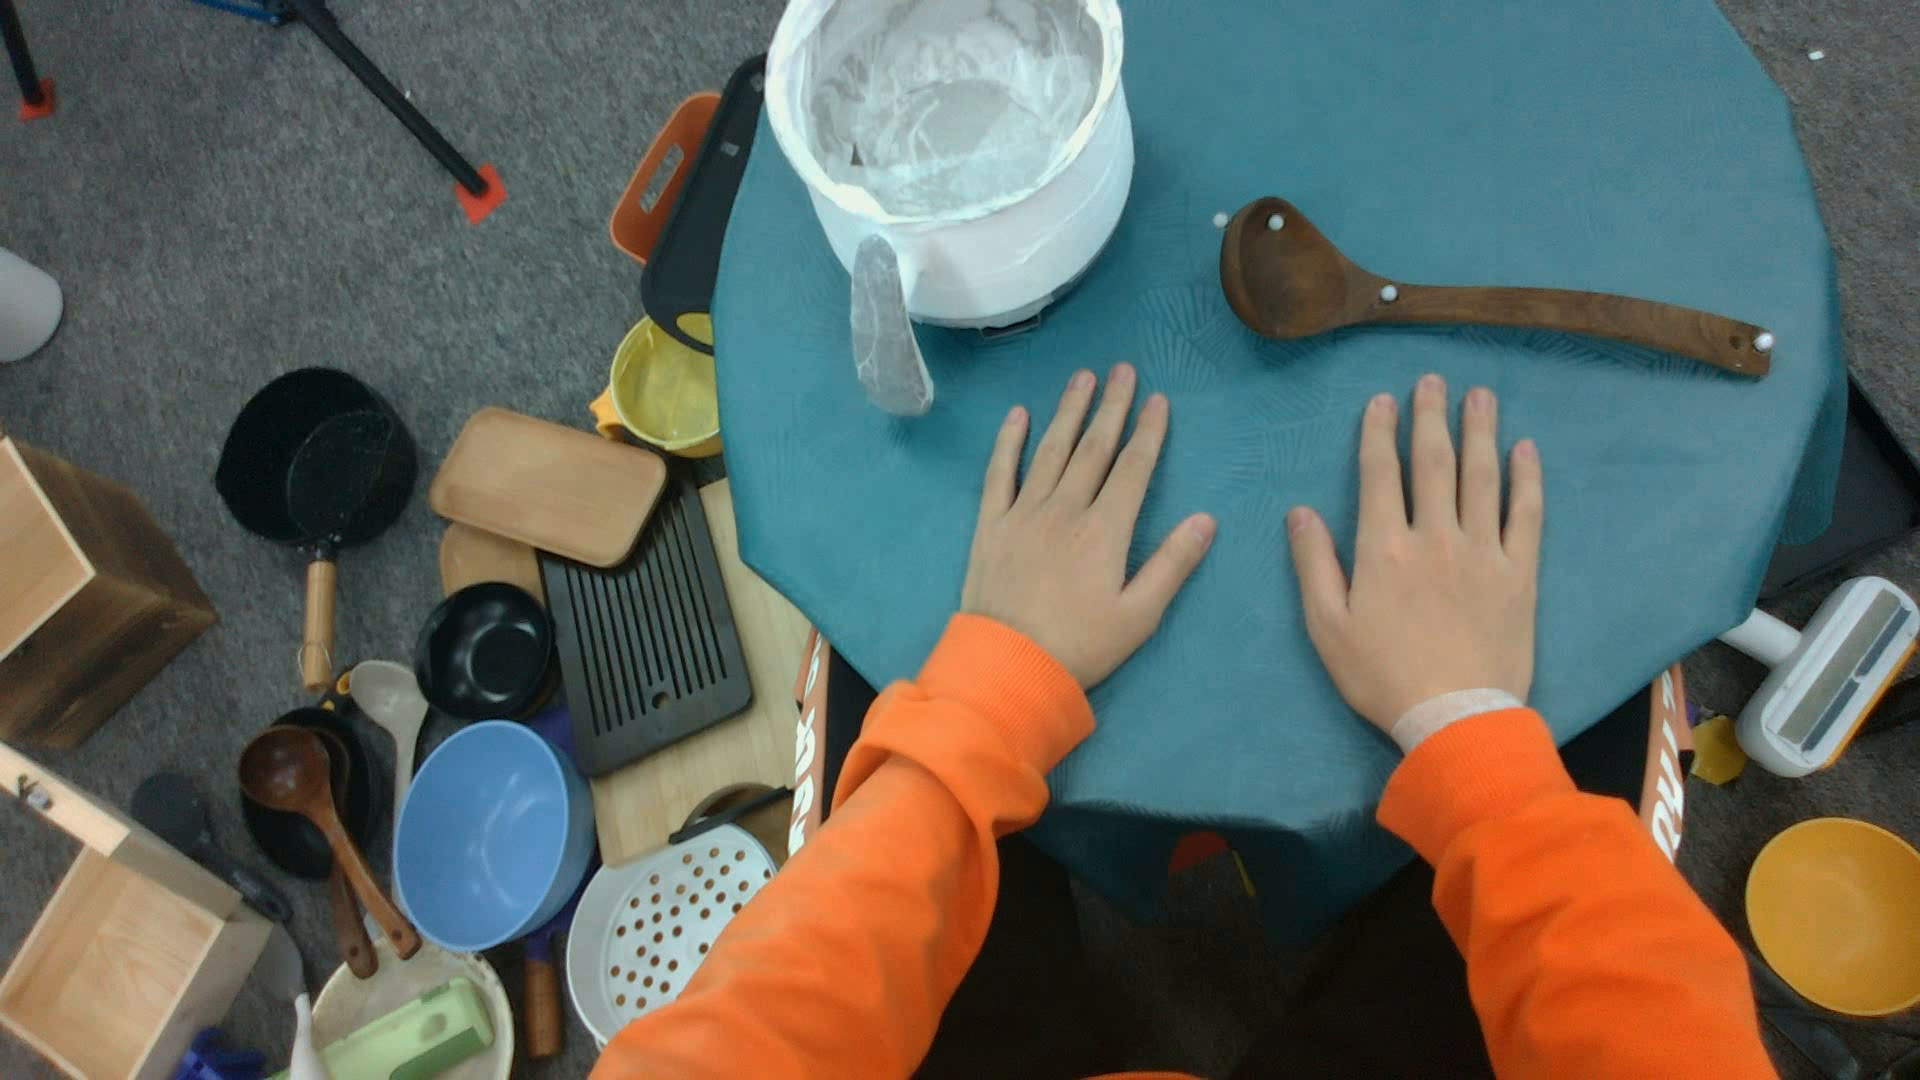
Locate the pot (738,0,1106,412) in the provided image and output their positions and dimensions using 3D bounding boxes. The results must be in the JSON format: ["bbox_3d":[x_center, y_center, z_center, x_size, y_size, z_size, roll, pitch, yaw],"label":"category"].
[{"bbox_3d":[-0.020,-0.190,0.728,0.178,0.136,0.234,12,75,13],"label":"pot"}]

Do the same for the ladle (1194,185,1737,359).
[{"bbox_3d":[0.257,-0.131,0.699,0.274,0.071,0.076,9,76,13],"label":"ladle"}]
